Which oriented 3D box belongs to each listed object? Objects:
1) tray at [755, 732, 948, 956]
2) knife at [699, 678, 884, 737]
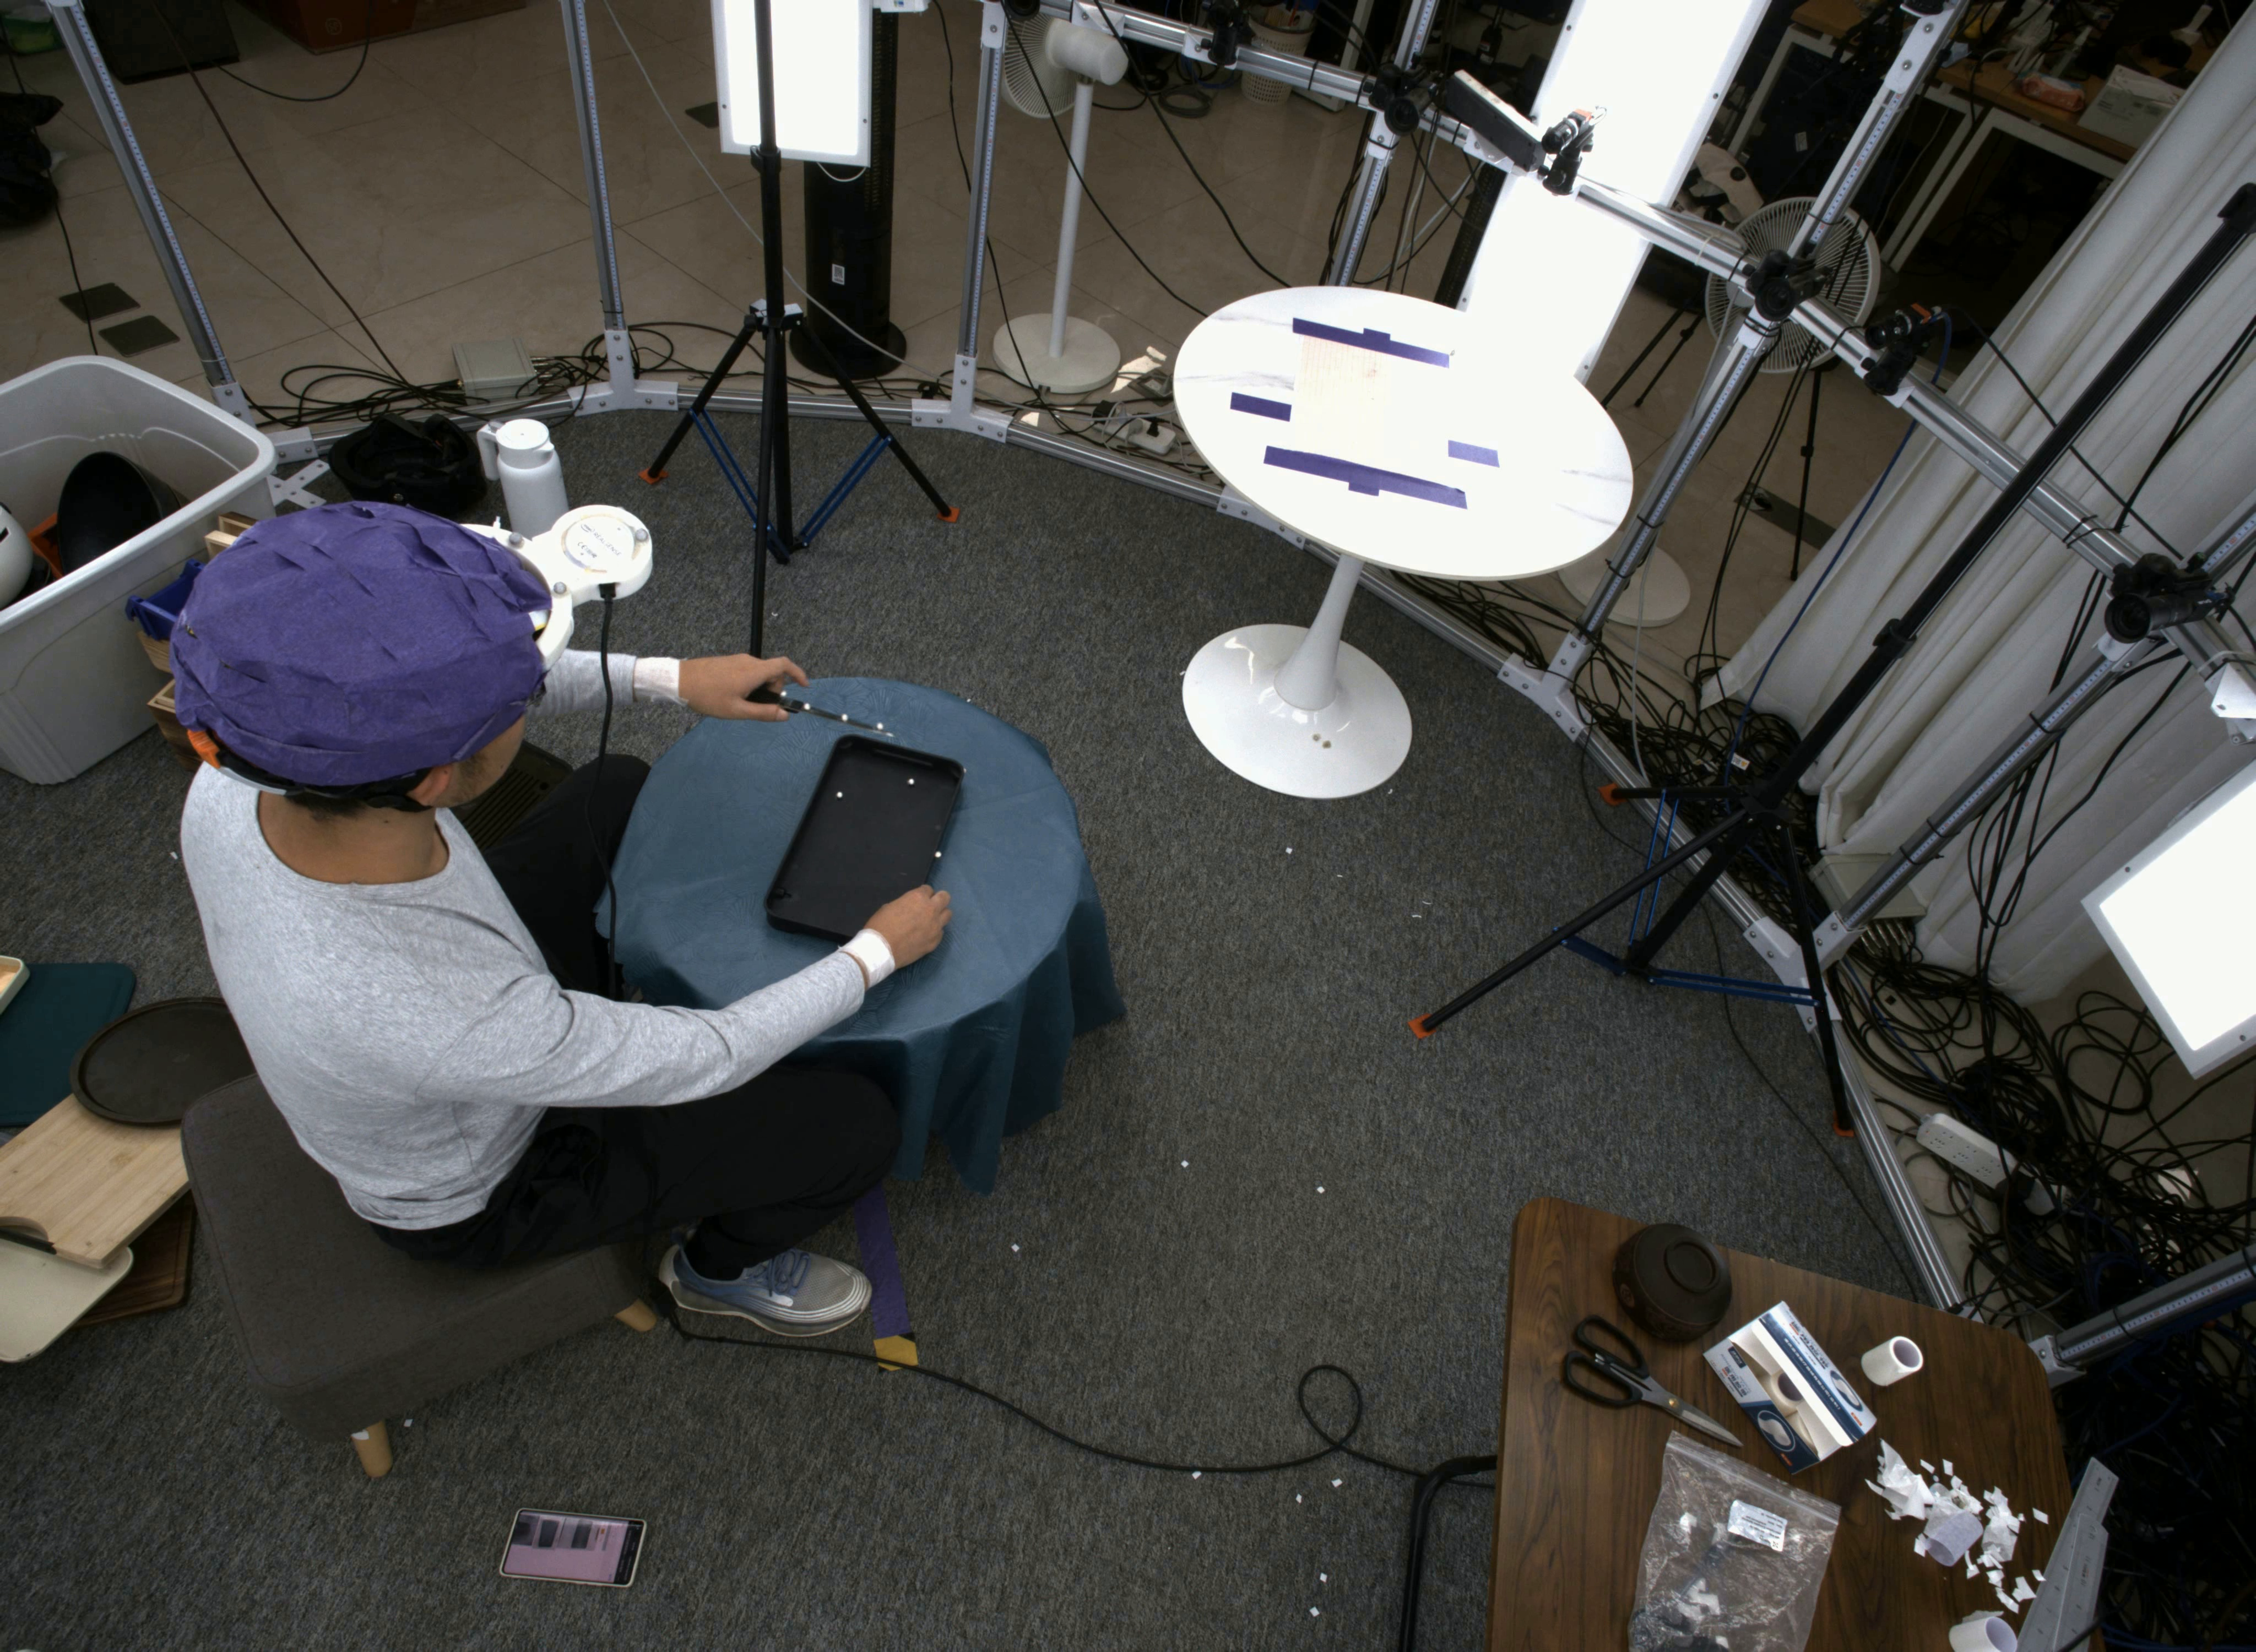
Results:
[{"bbox_3d":[-0.359,0.017,1.716,0.183,0.038,0.313,13,53,-4],"label":"tray"},{"bbox_3d":[-0.412,-0.141,1.573,0.236,0.016,0.024,16,19,-3],"label":"knife"}]
